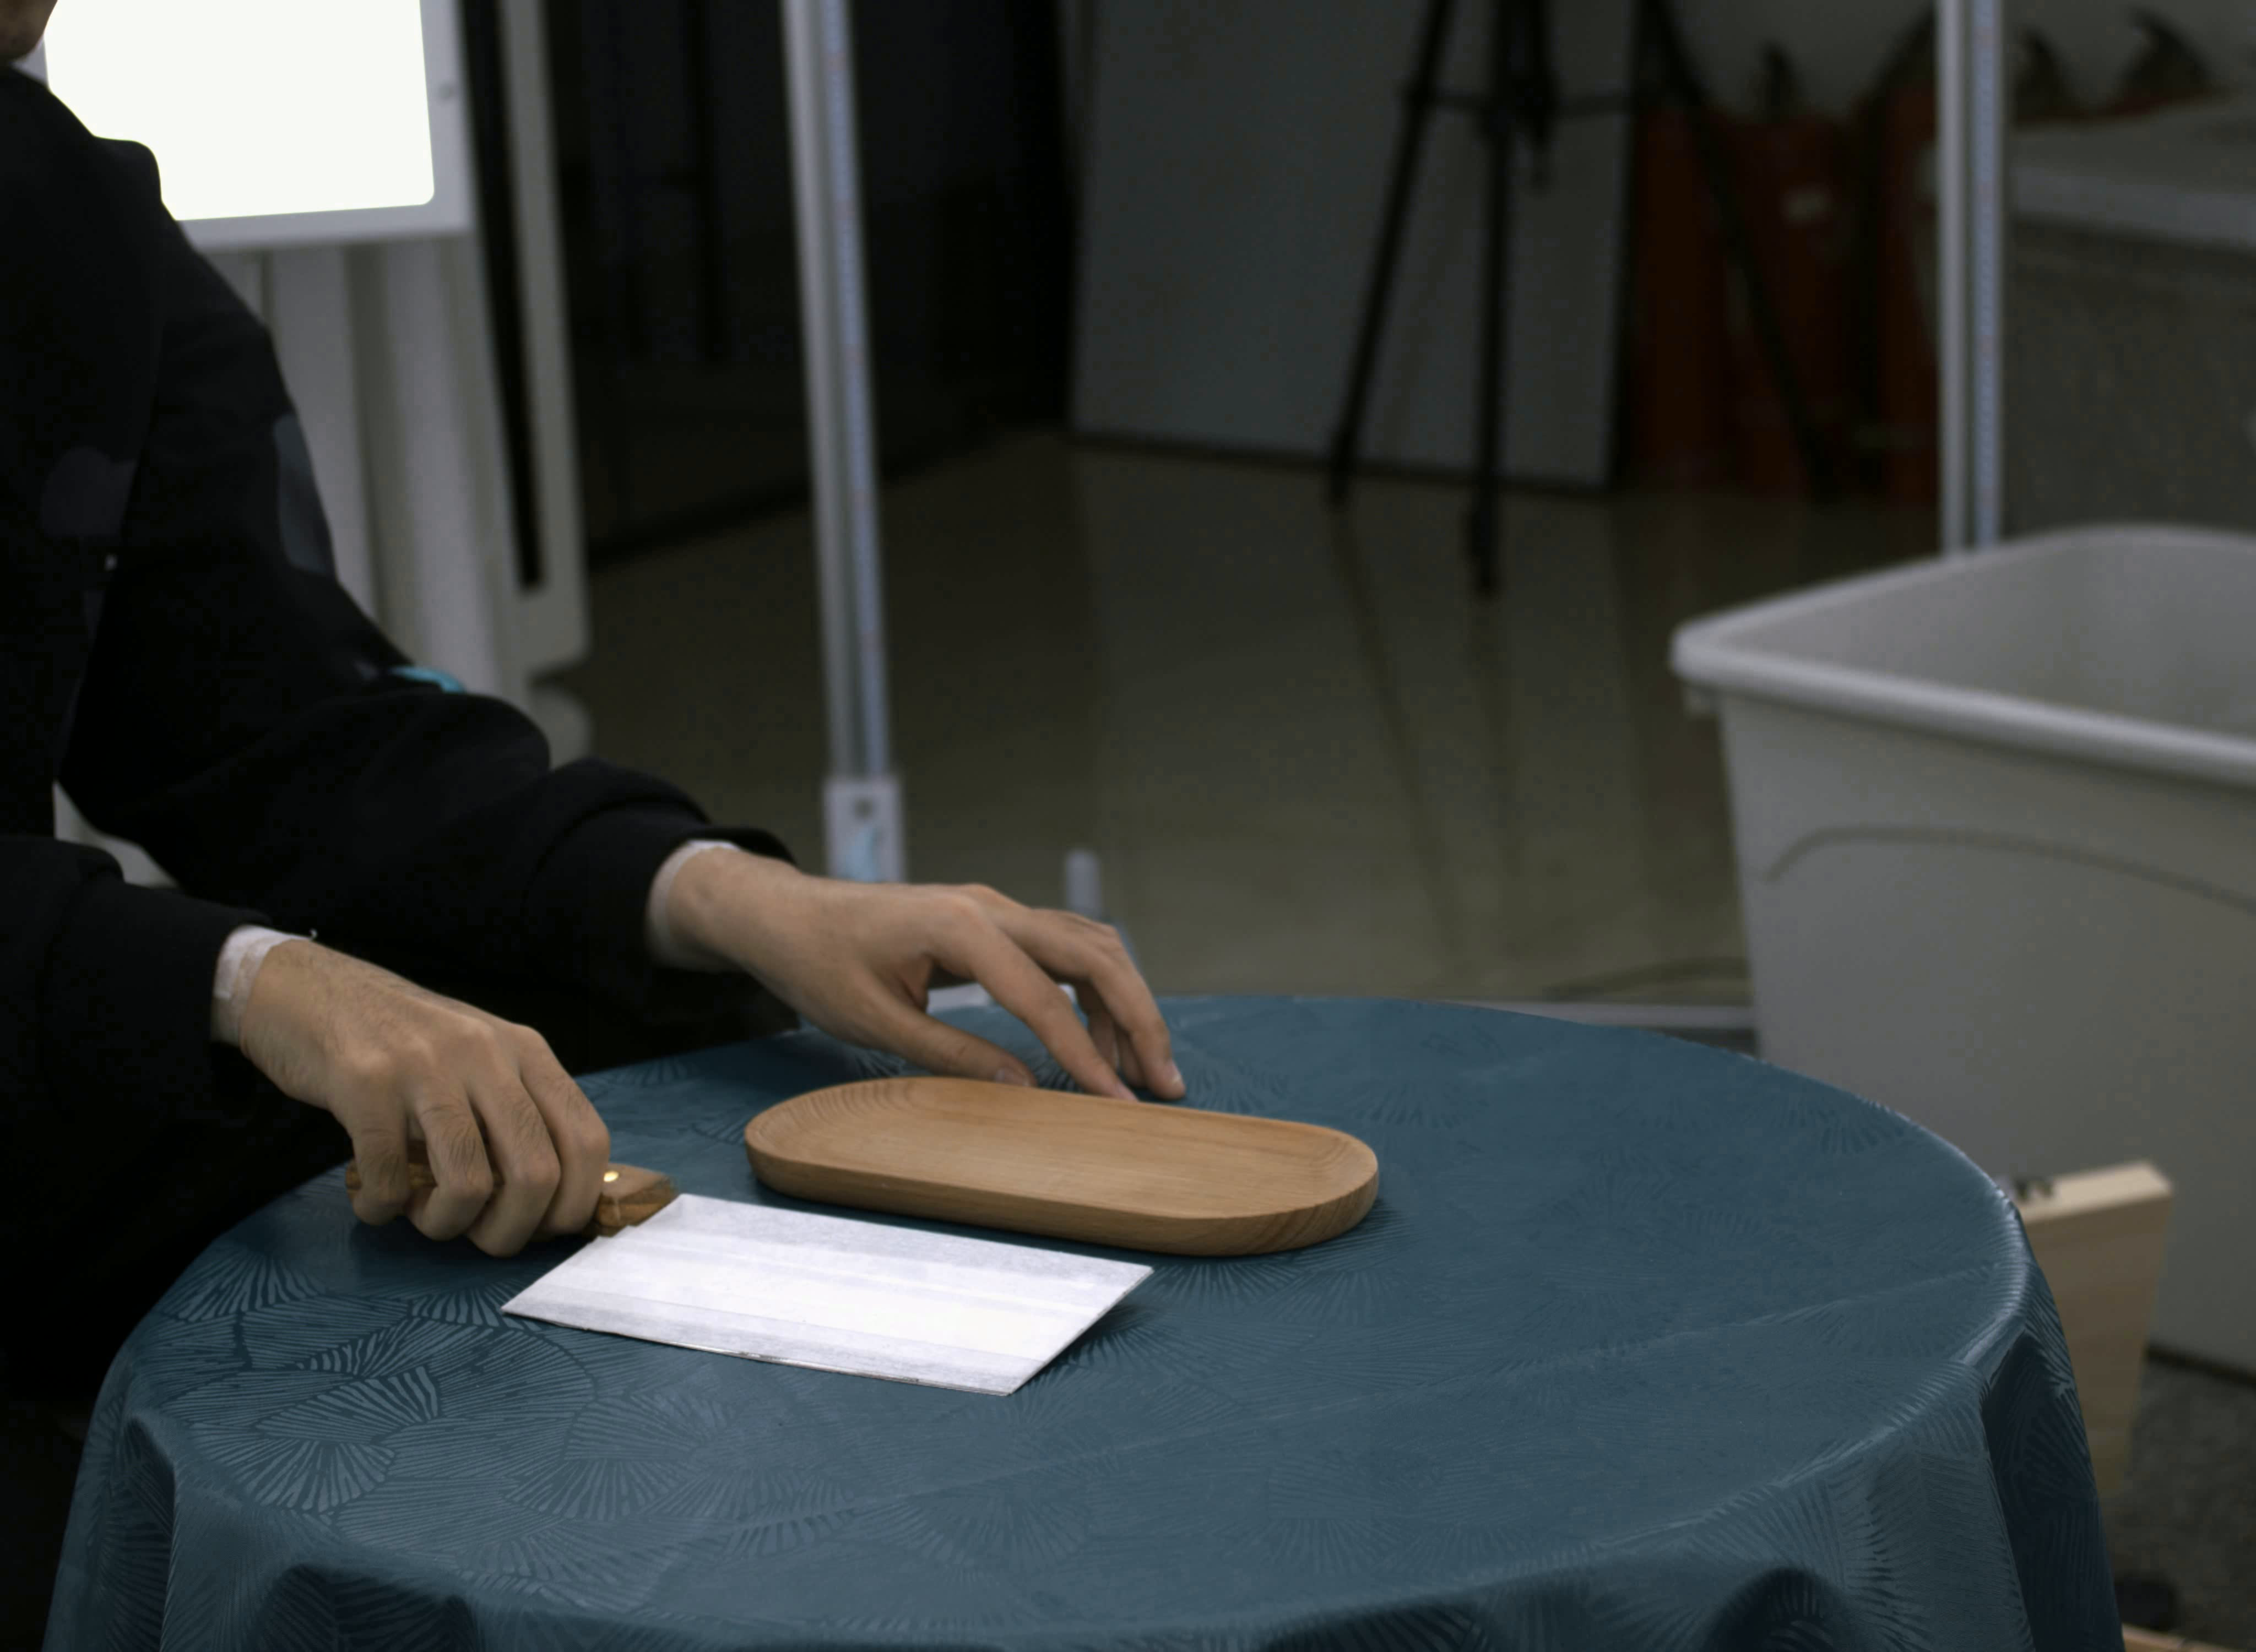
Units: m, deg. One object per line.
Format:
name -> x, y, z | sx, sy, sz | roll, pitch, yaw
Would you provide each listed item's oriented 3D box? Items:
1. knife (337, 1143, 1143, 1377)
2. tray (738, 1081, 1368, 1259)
knife -> -0.140, 0.139, 1.705 | 0.307, 0.021, 0.091 | 6, 25, 32
tray -> -0.026, 0.113, 1.778 | 0.232, 0.020, 0.100 | 4, 15, 34
